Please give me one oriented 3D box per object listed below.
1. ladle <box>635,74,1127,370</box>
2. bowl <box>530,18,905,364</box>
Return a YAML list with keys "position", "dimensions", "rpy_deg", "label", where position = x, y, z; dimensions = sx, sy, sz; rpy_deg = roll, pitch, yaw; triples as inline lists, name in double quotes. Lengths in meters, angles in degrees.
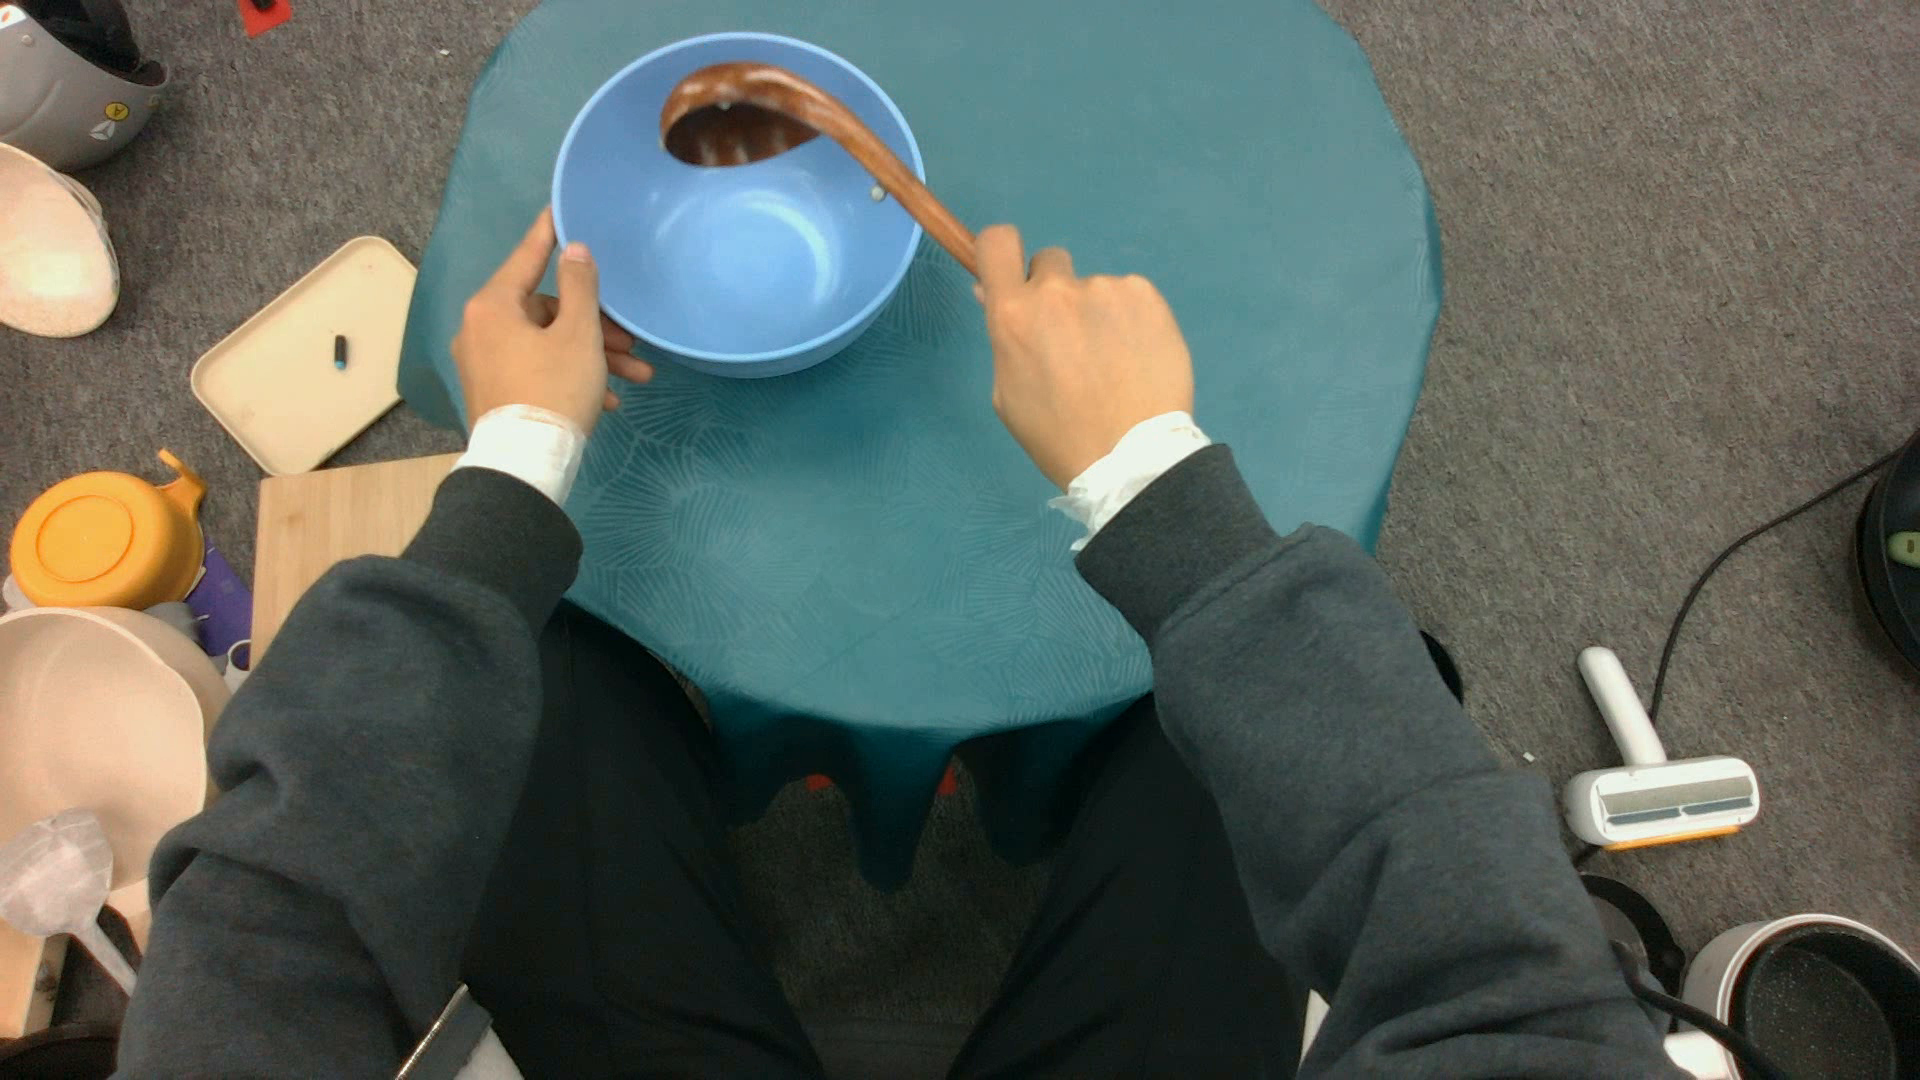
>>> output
- position: [-0.047, -0.141, 0.664]
  dimensions: [0.274, 0.082, 0.076]
  rpy_deg: [41, 108, 17]
  label: "ladle"
- position: [-0.130, -0.180, 0.773]
  dimensions: [0.196, 0.095, 0.197]
  rpy_deg: [1, 75, -4]
  label: "bowl"
